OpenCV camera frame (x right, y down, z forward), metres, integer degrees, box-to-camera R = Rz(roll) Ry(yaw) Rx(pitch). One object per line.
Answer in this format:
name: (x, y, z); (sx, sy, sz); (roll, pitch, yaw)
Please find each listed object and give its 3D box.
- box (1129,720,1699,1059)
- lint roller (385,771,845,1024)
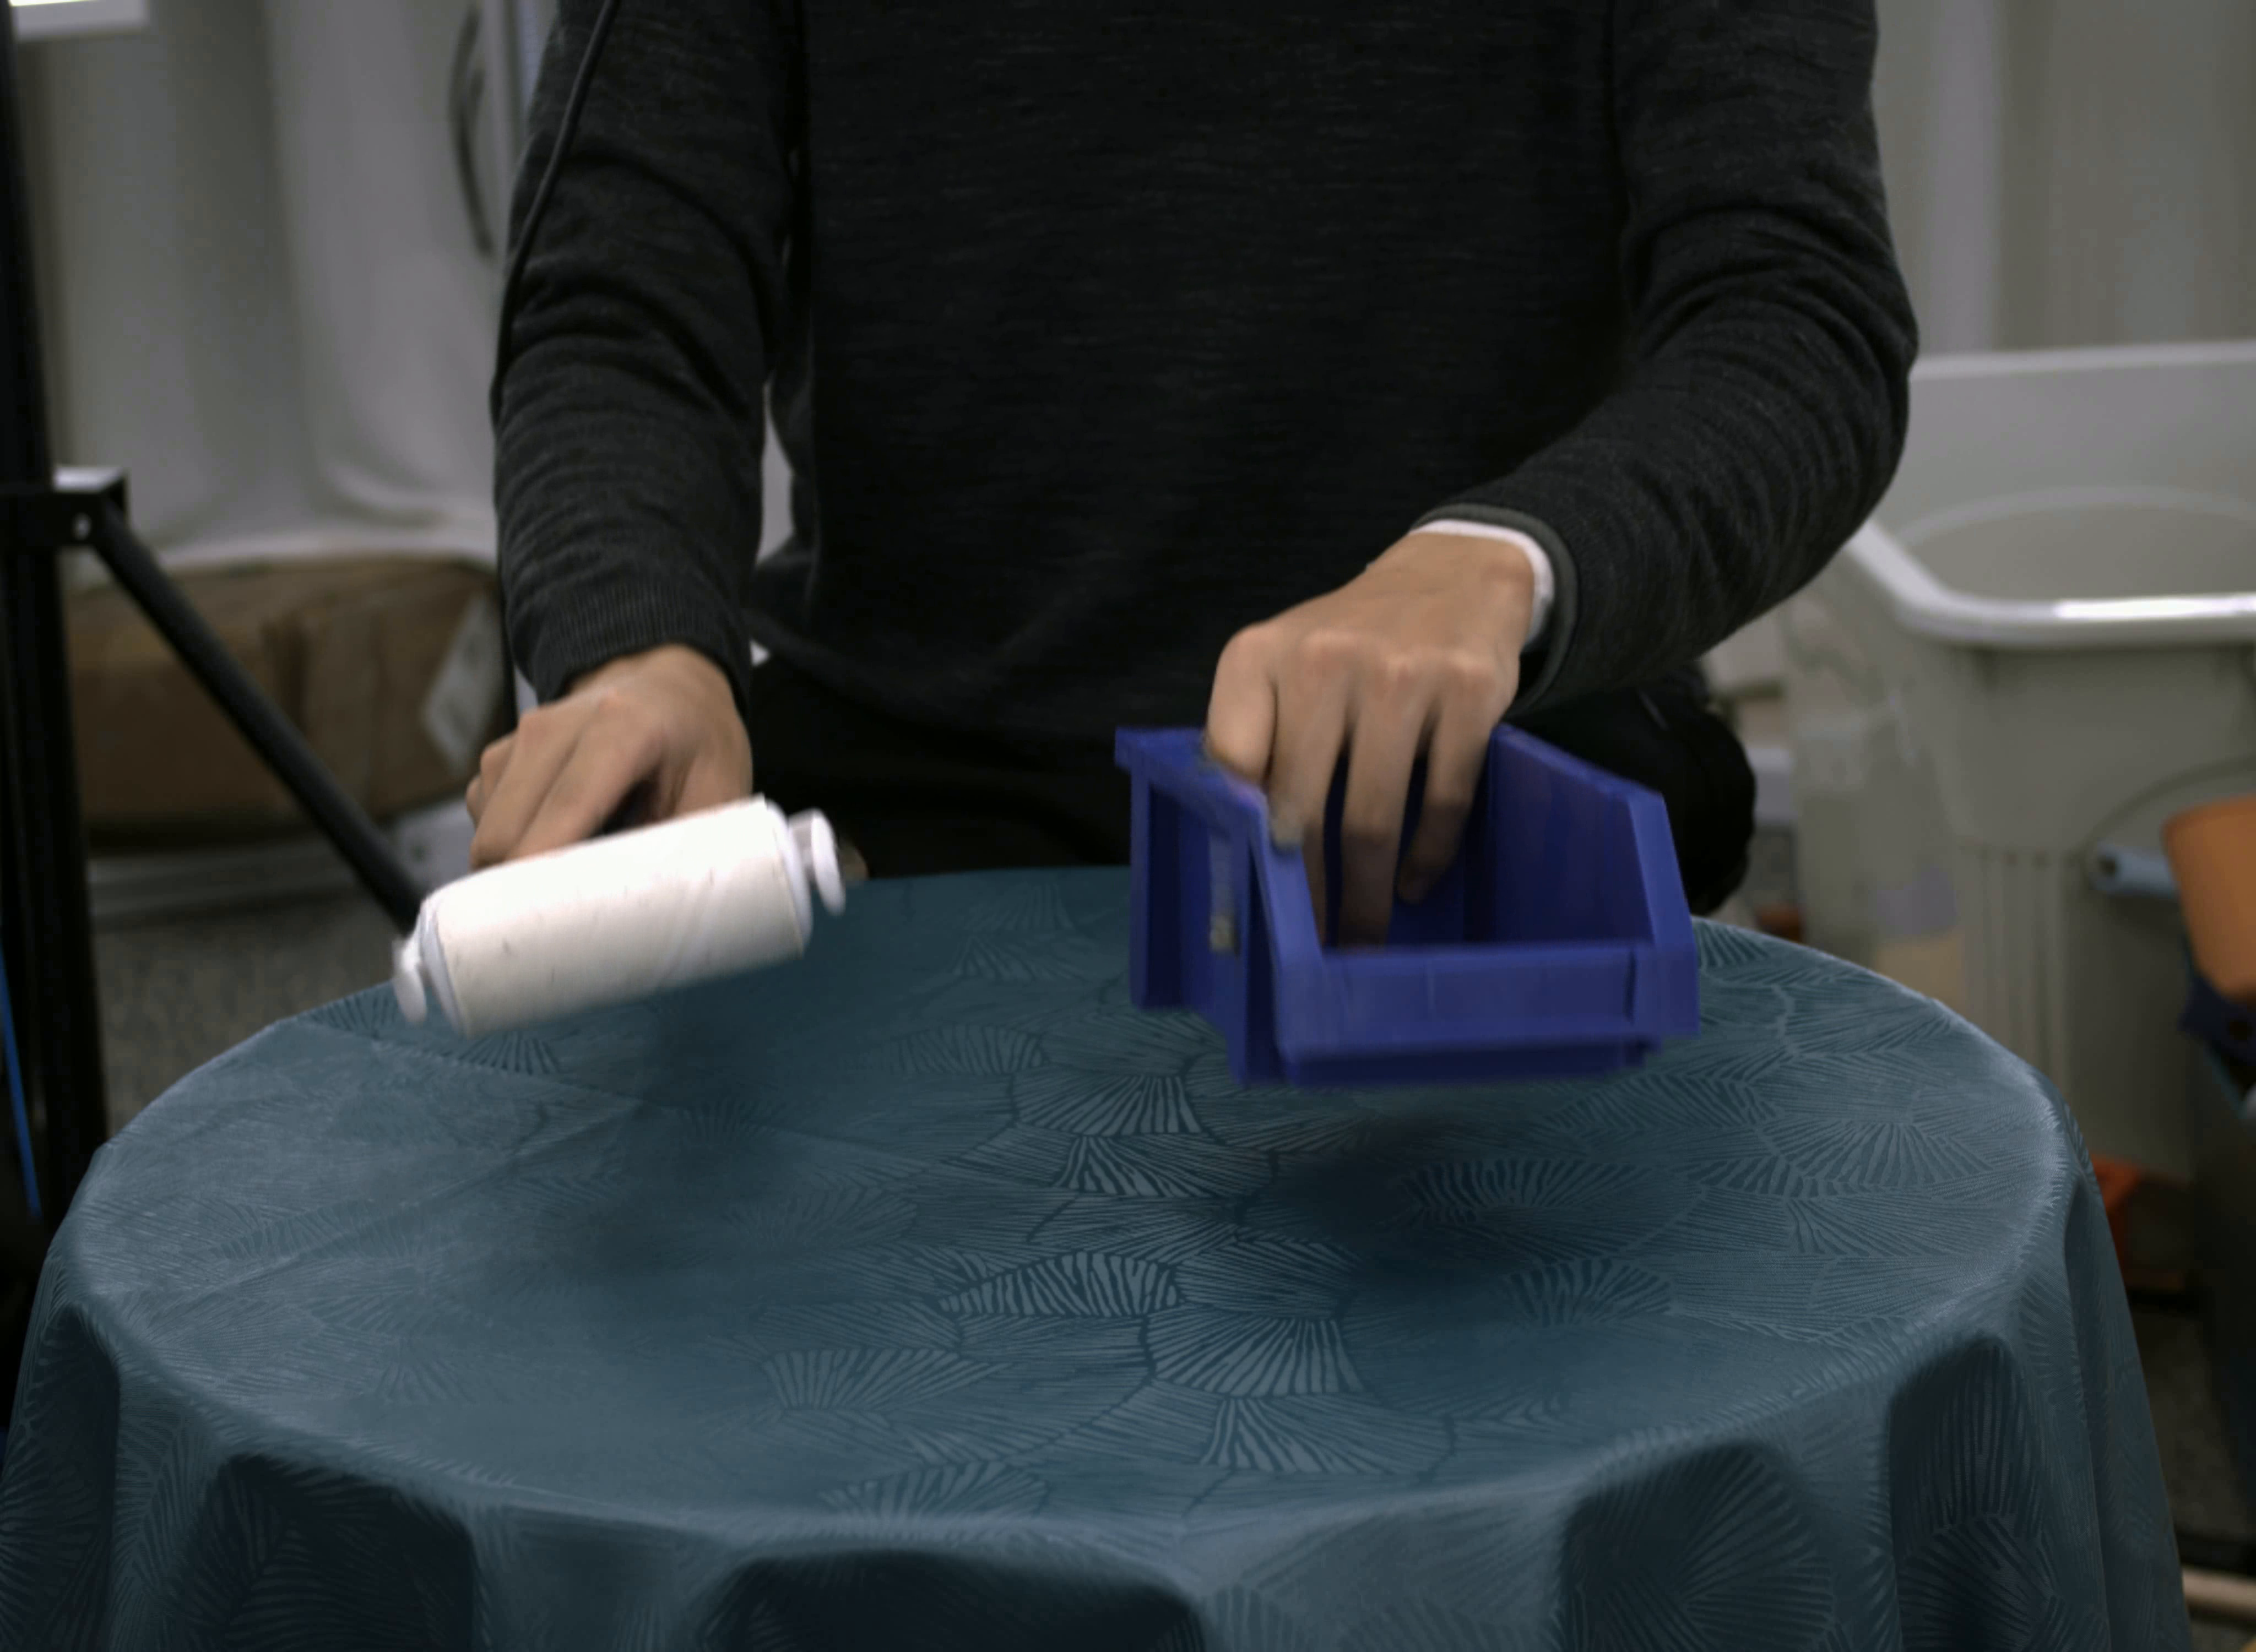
box: (0.080, 0.018, 1.510); (0.123, 0.082, 0.181); (1, 5, -13)
lint roller: (-0.155, 0.000, 1.583); (0.132, 0.050, 0.183); (-18, 20, -2)
